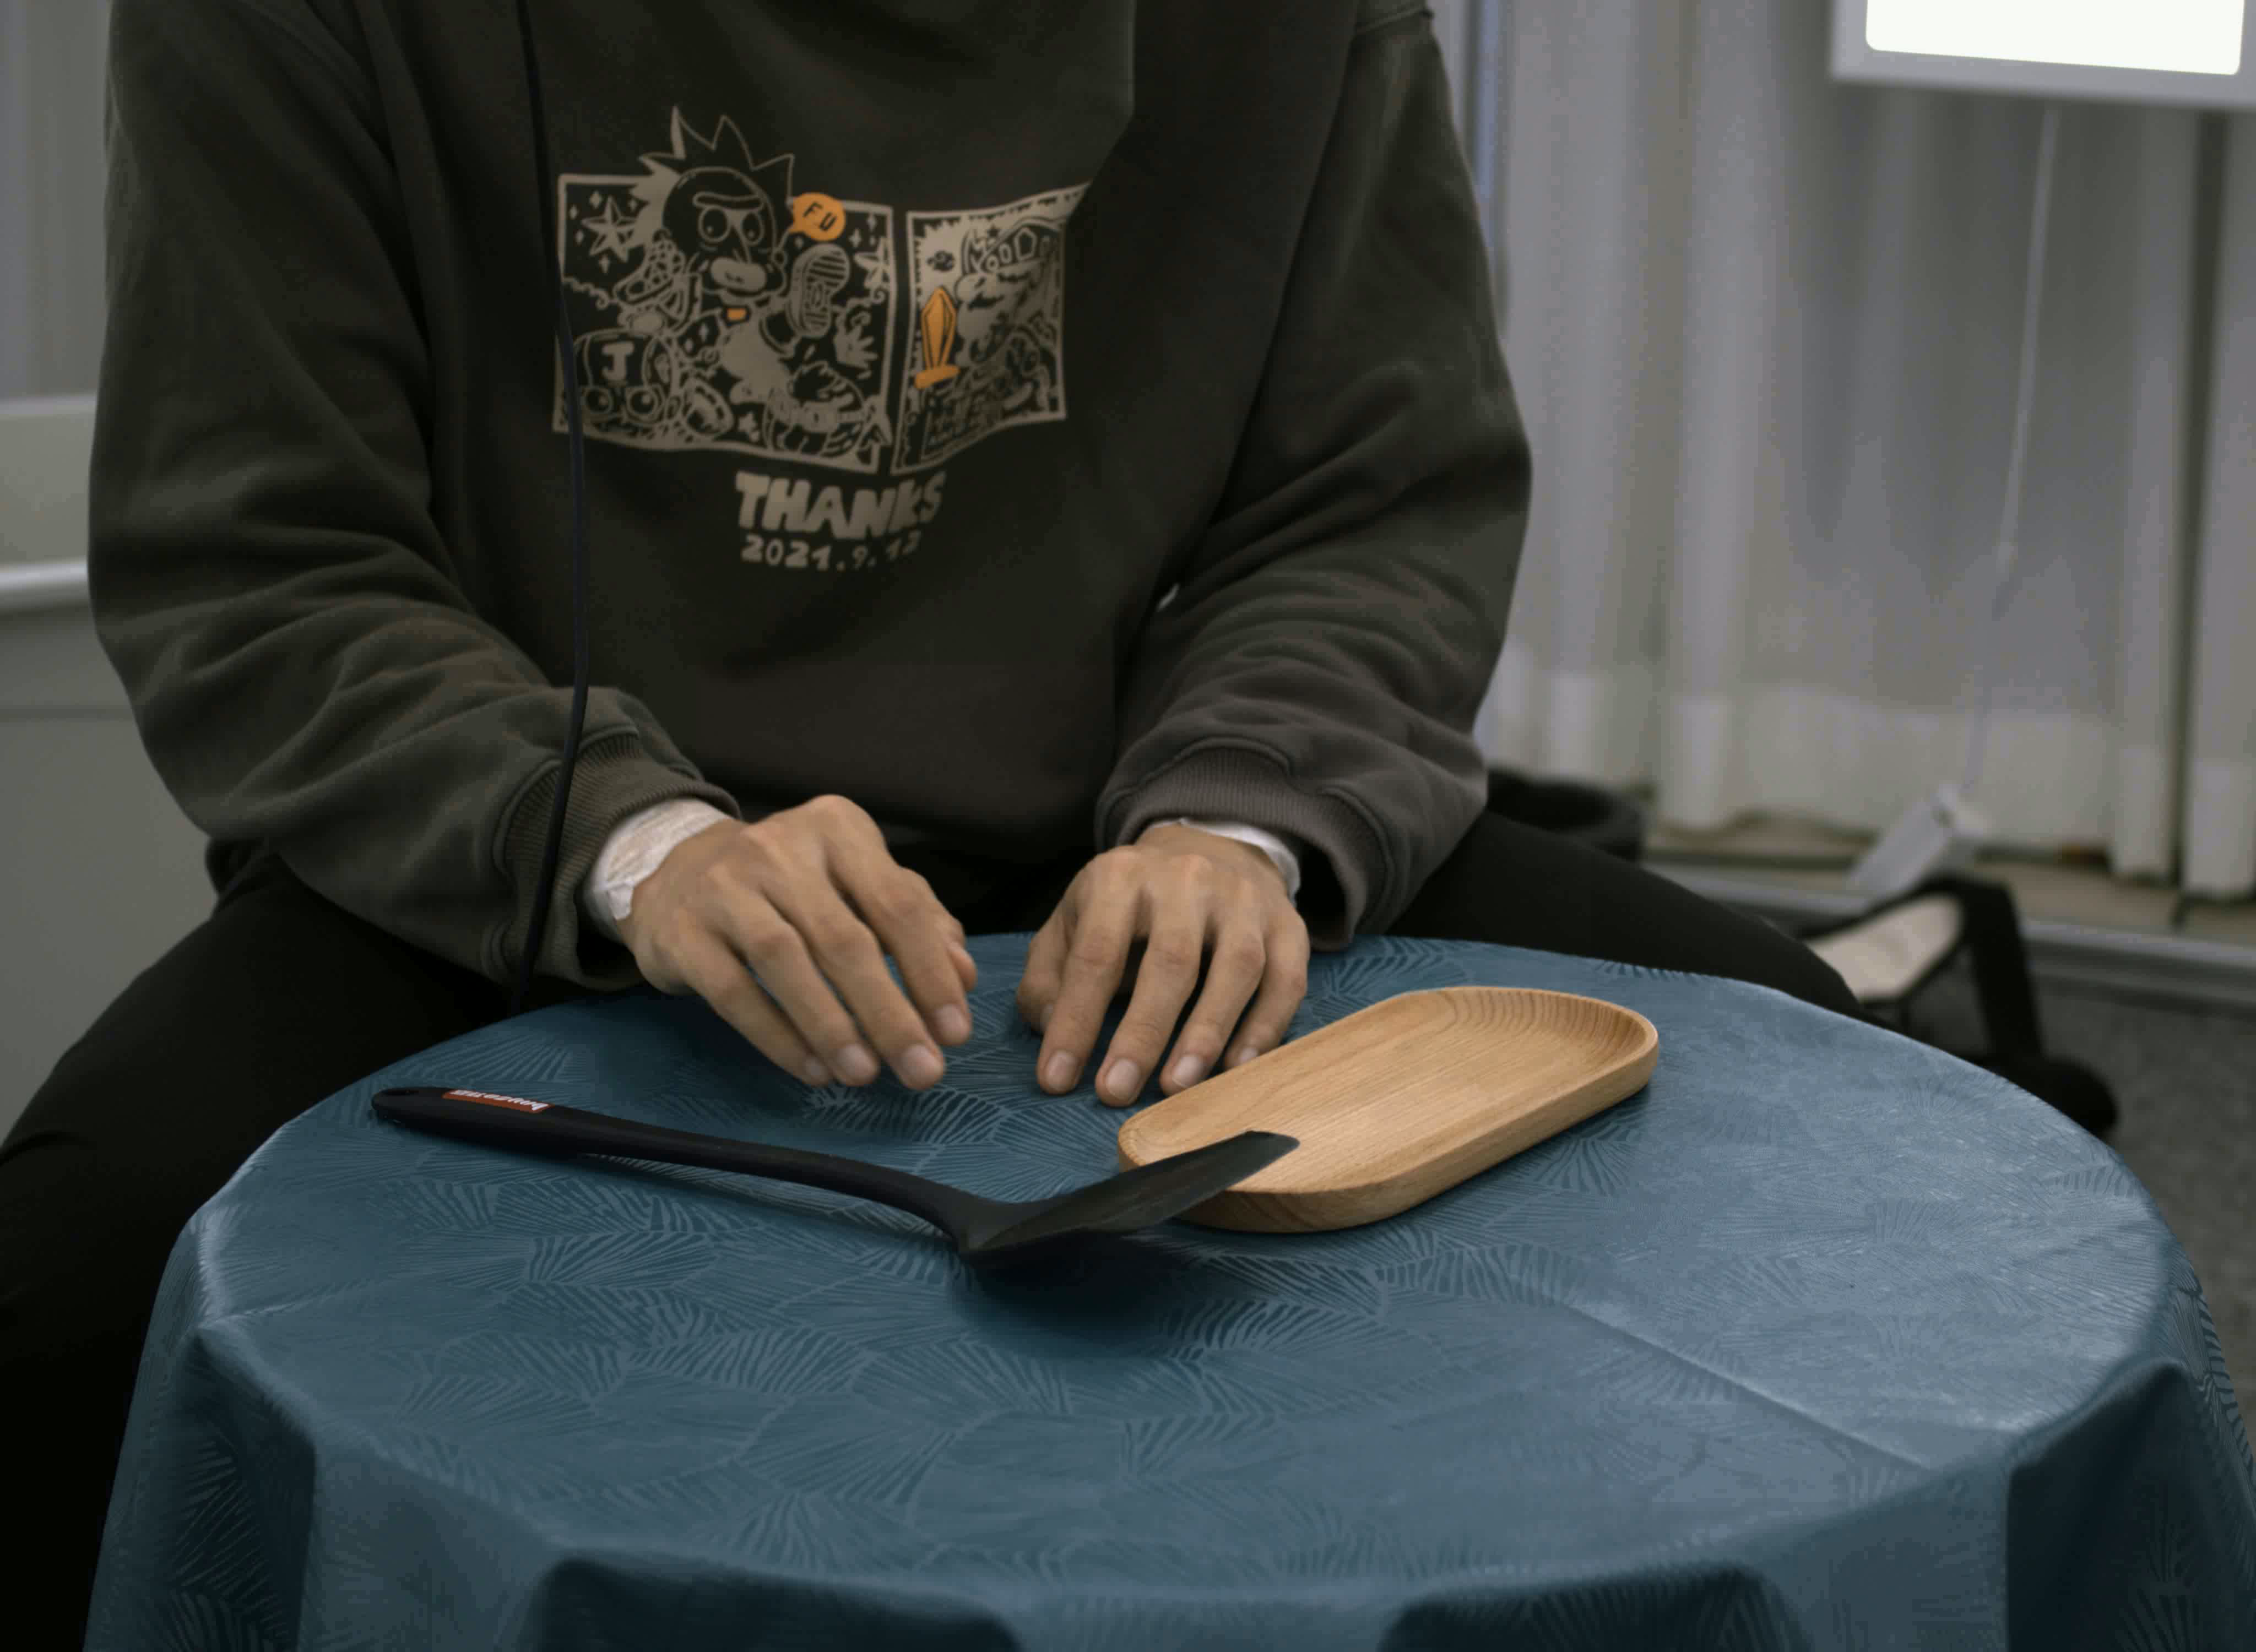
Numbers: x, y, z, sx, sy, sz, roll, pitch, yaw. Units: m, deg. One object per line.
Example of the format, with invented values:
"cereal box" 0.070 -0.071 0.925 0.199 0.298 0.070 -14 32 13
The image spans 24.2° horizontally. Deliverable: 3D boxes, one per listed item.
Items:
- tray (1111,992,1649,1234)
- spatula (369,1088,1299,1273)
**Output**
"tray" 0.083 0.090 1.684 0.100 0.020 0.232 11 19 34
"spatula" -0.105 0.098 1.611 0.322 0.040 0.100 10 17 30
